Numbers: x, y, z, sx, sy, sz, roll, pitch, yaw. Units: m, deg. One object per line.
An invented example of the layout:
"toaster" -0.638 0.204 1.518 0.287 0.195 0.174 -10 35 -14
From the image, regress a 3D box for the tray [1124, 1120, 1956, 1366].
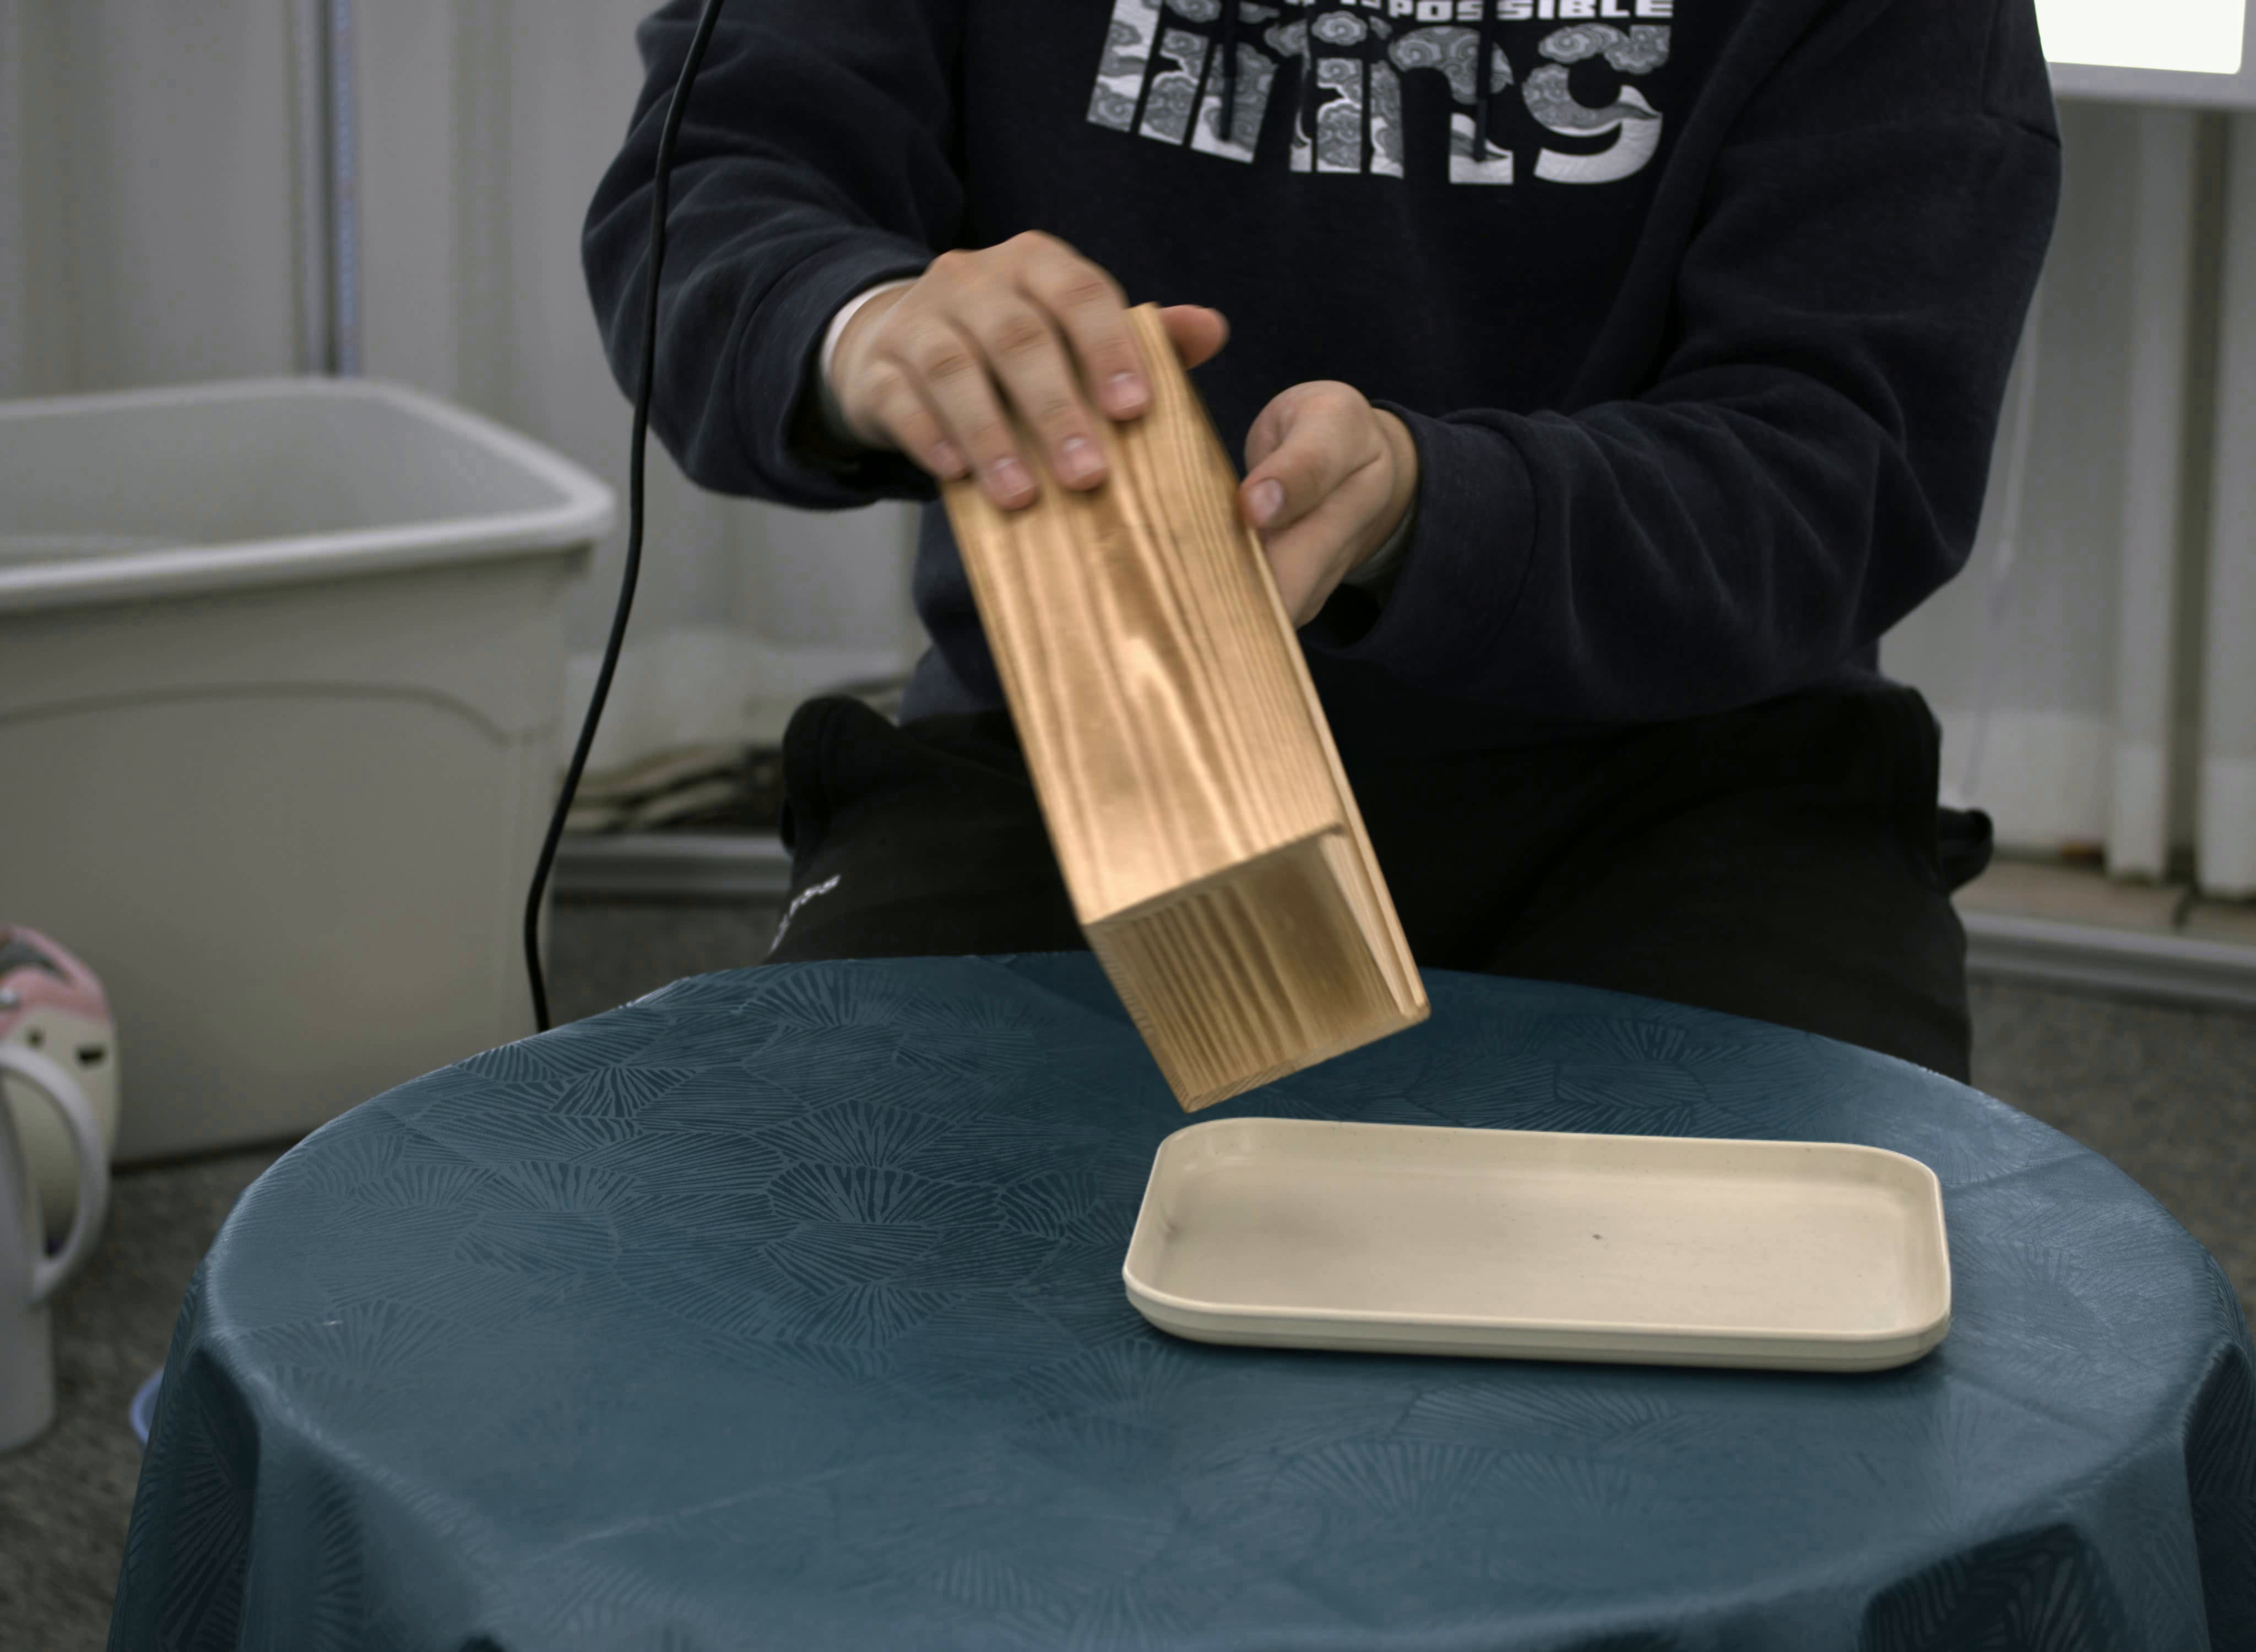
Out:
"tray" 0.122 0.123 1.560 0.238 0.017 0.170 2 15 5

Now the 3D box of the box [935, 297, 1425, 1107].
"box" 0.014 -0.038 1.568 0.080 0.109 0.209 -20 54 3
